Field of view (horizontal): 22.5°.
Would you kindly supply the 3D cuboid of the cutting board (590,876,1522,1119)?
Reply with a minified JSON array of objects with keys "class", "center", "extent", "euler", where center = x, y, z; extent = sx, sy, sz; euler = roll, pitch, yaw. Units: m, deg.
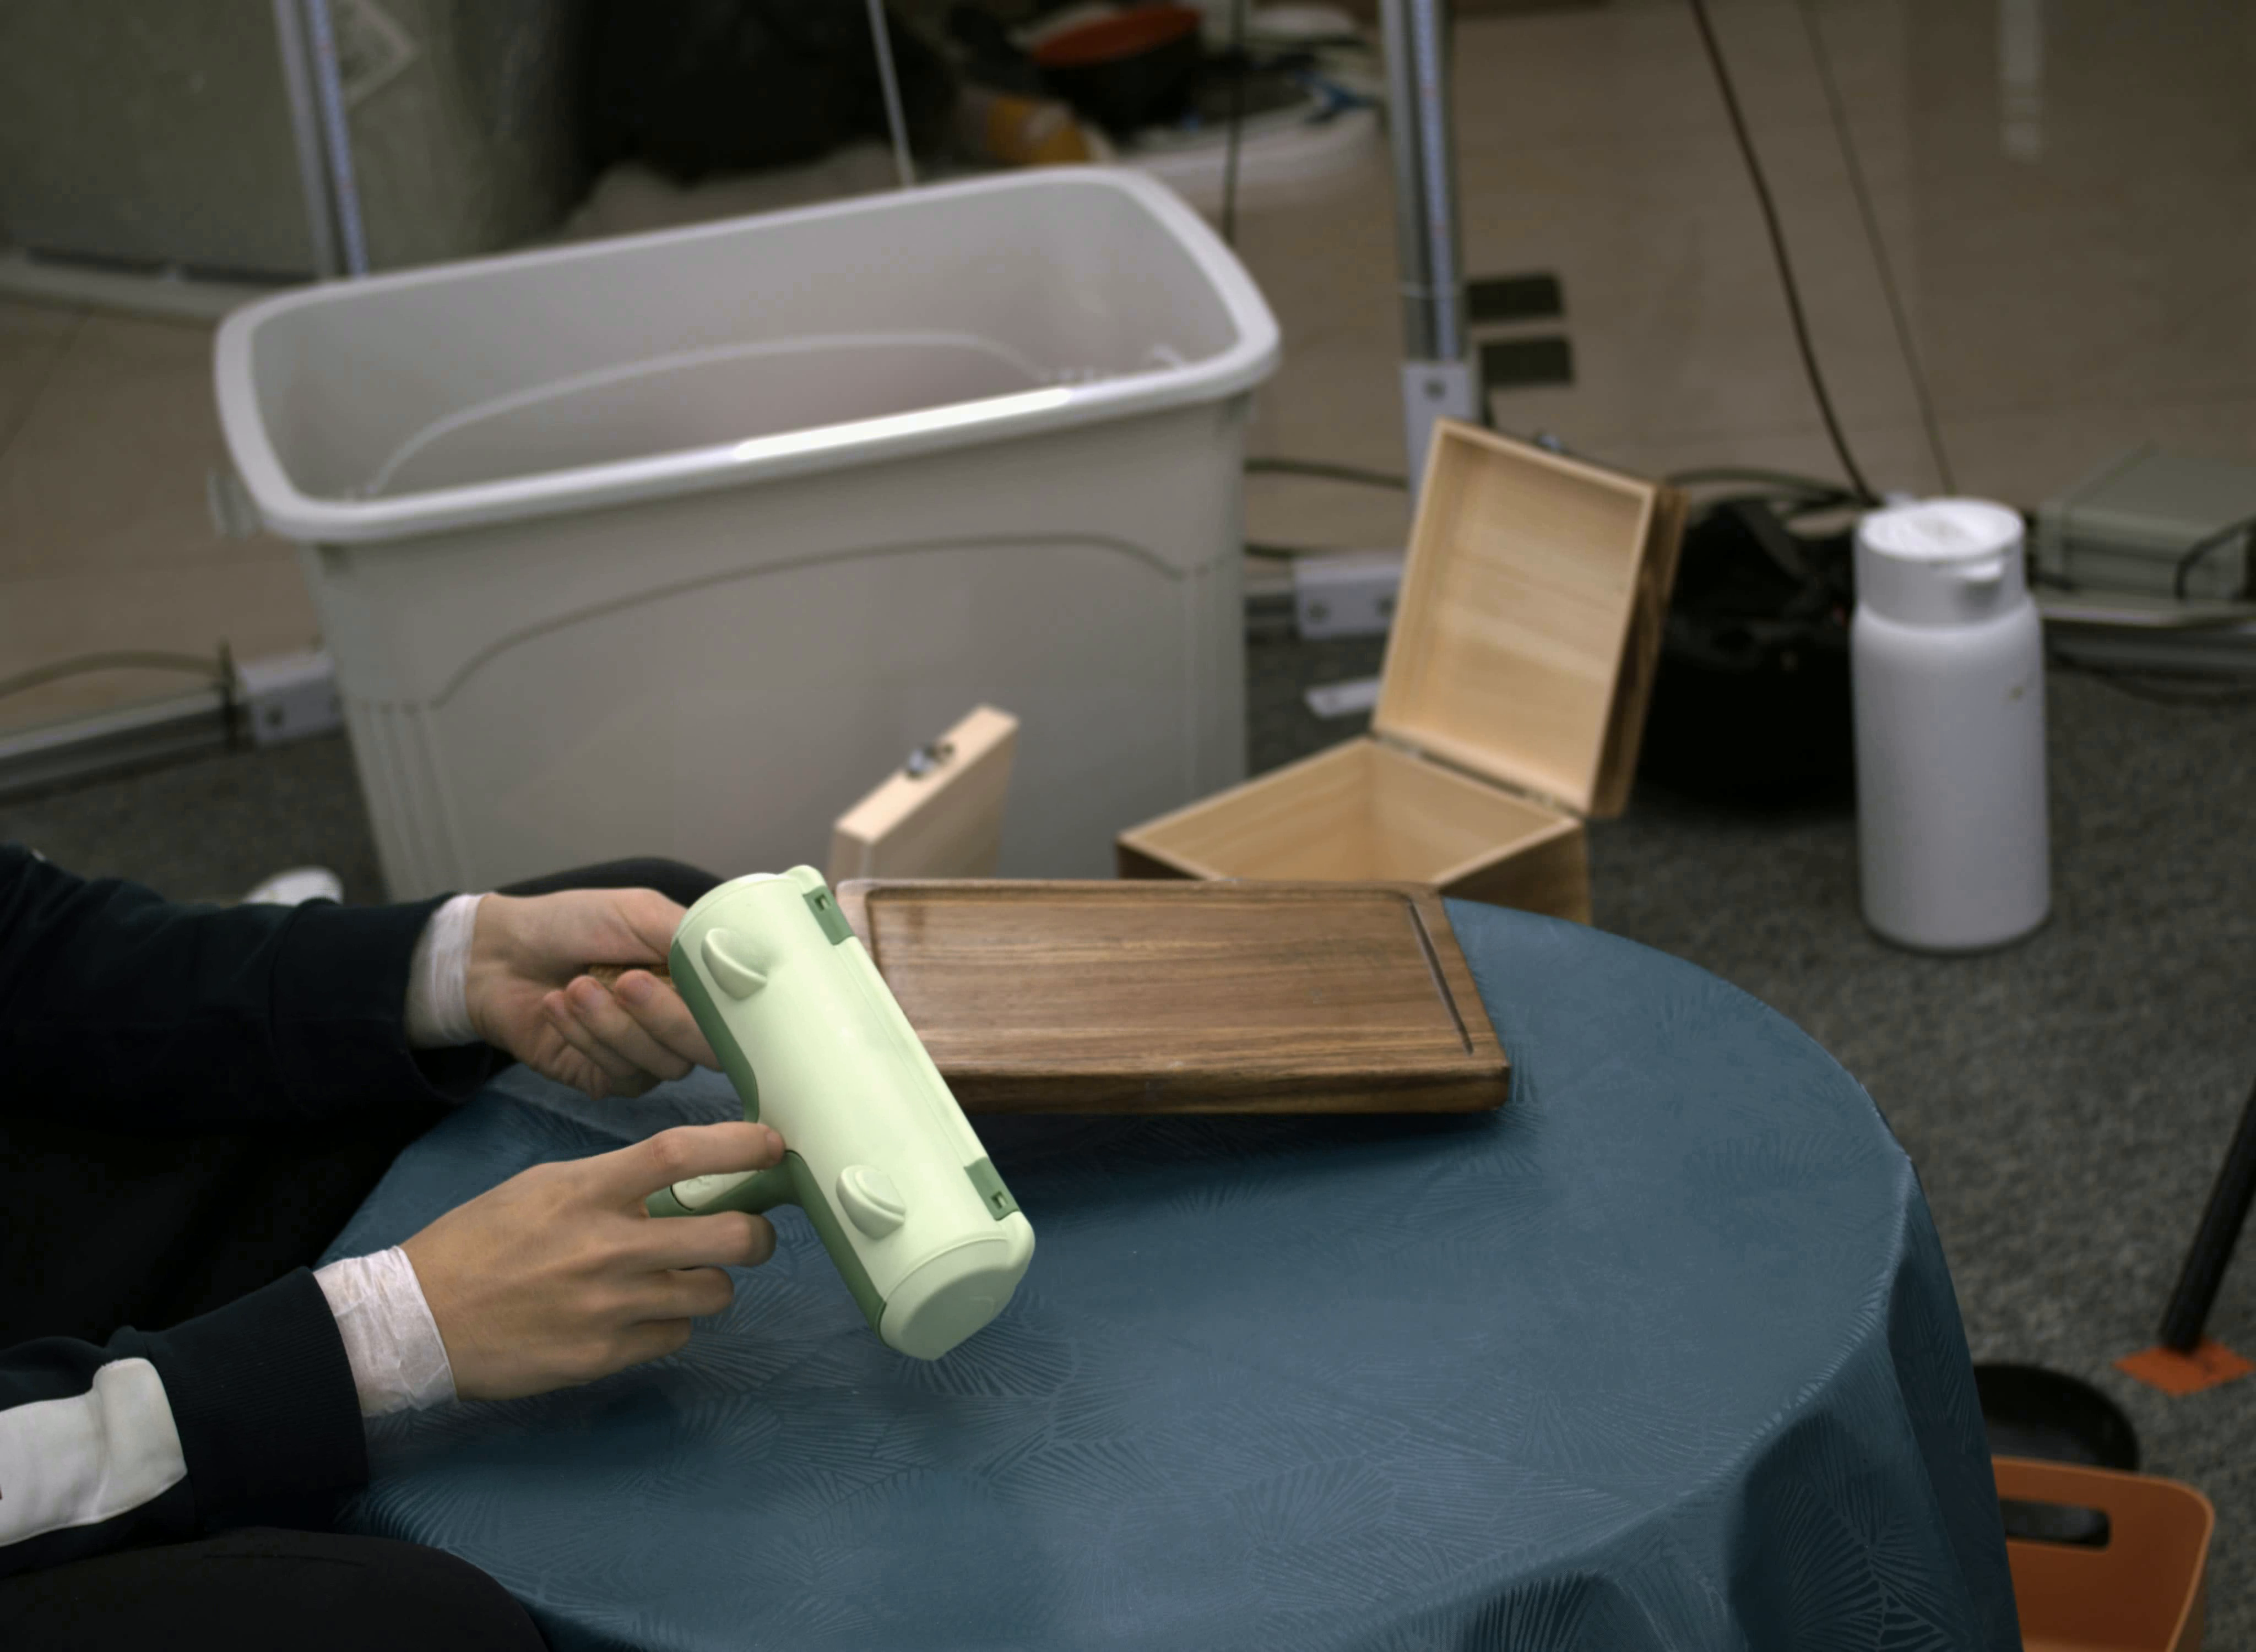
[{"class":"cutting board","center":[-0.034,0.065,2.219],"extent":[0.351,0.023,0.198],"euler":[0,22,-7]}]

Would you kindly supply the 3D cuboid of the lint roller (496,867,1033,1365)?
[{"class":"lint roller","center":[-0.153,0.125,2.023],"extent":[0.183,0.083,0.196],"euler":[-29,58,-5]}]
